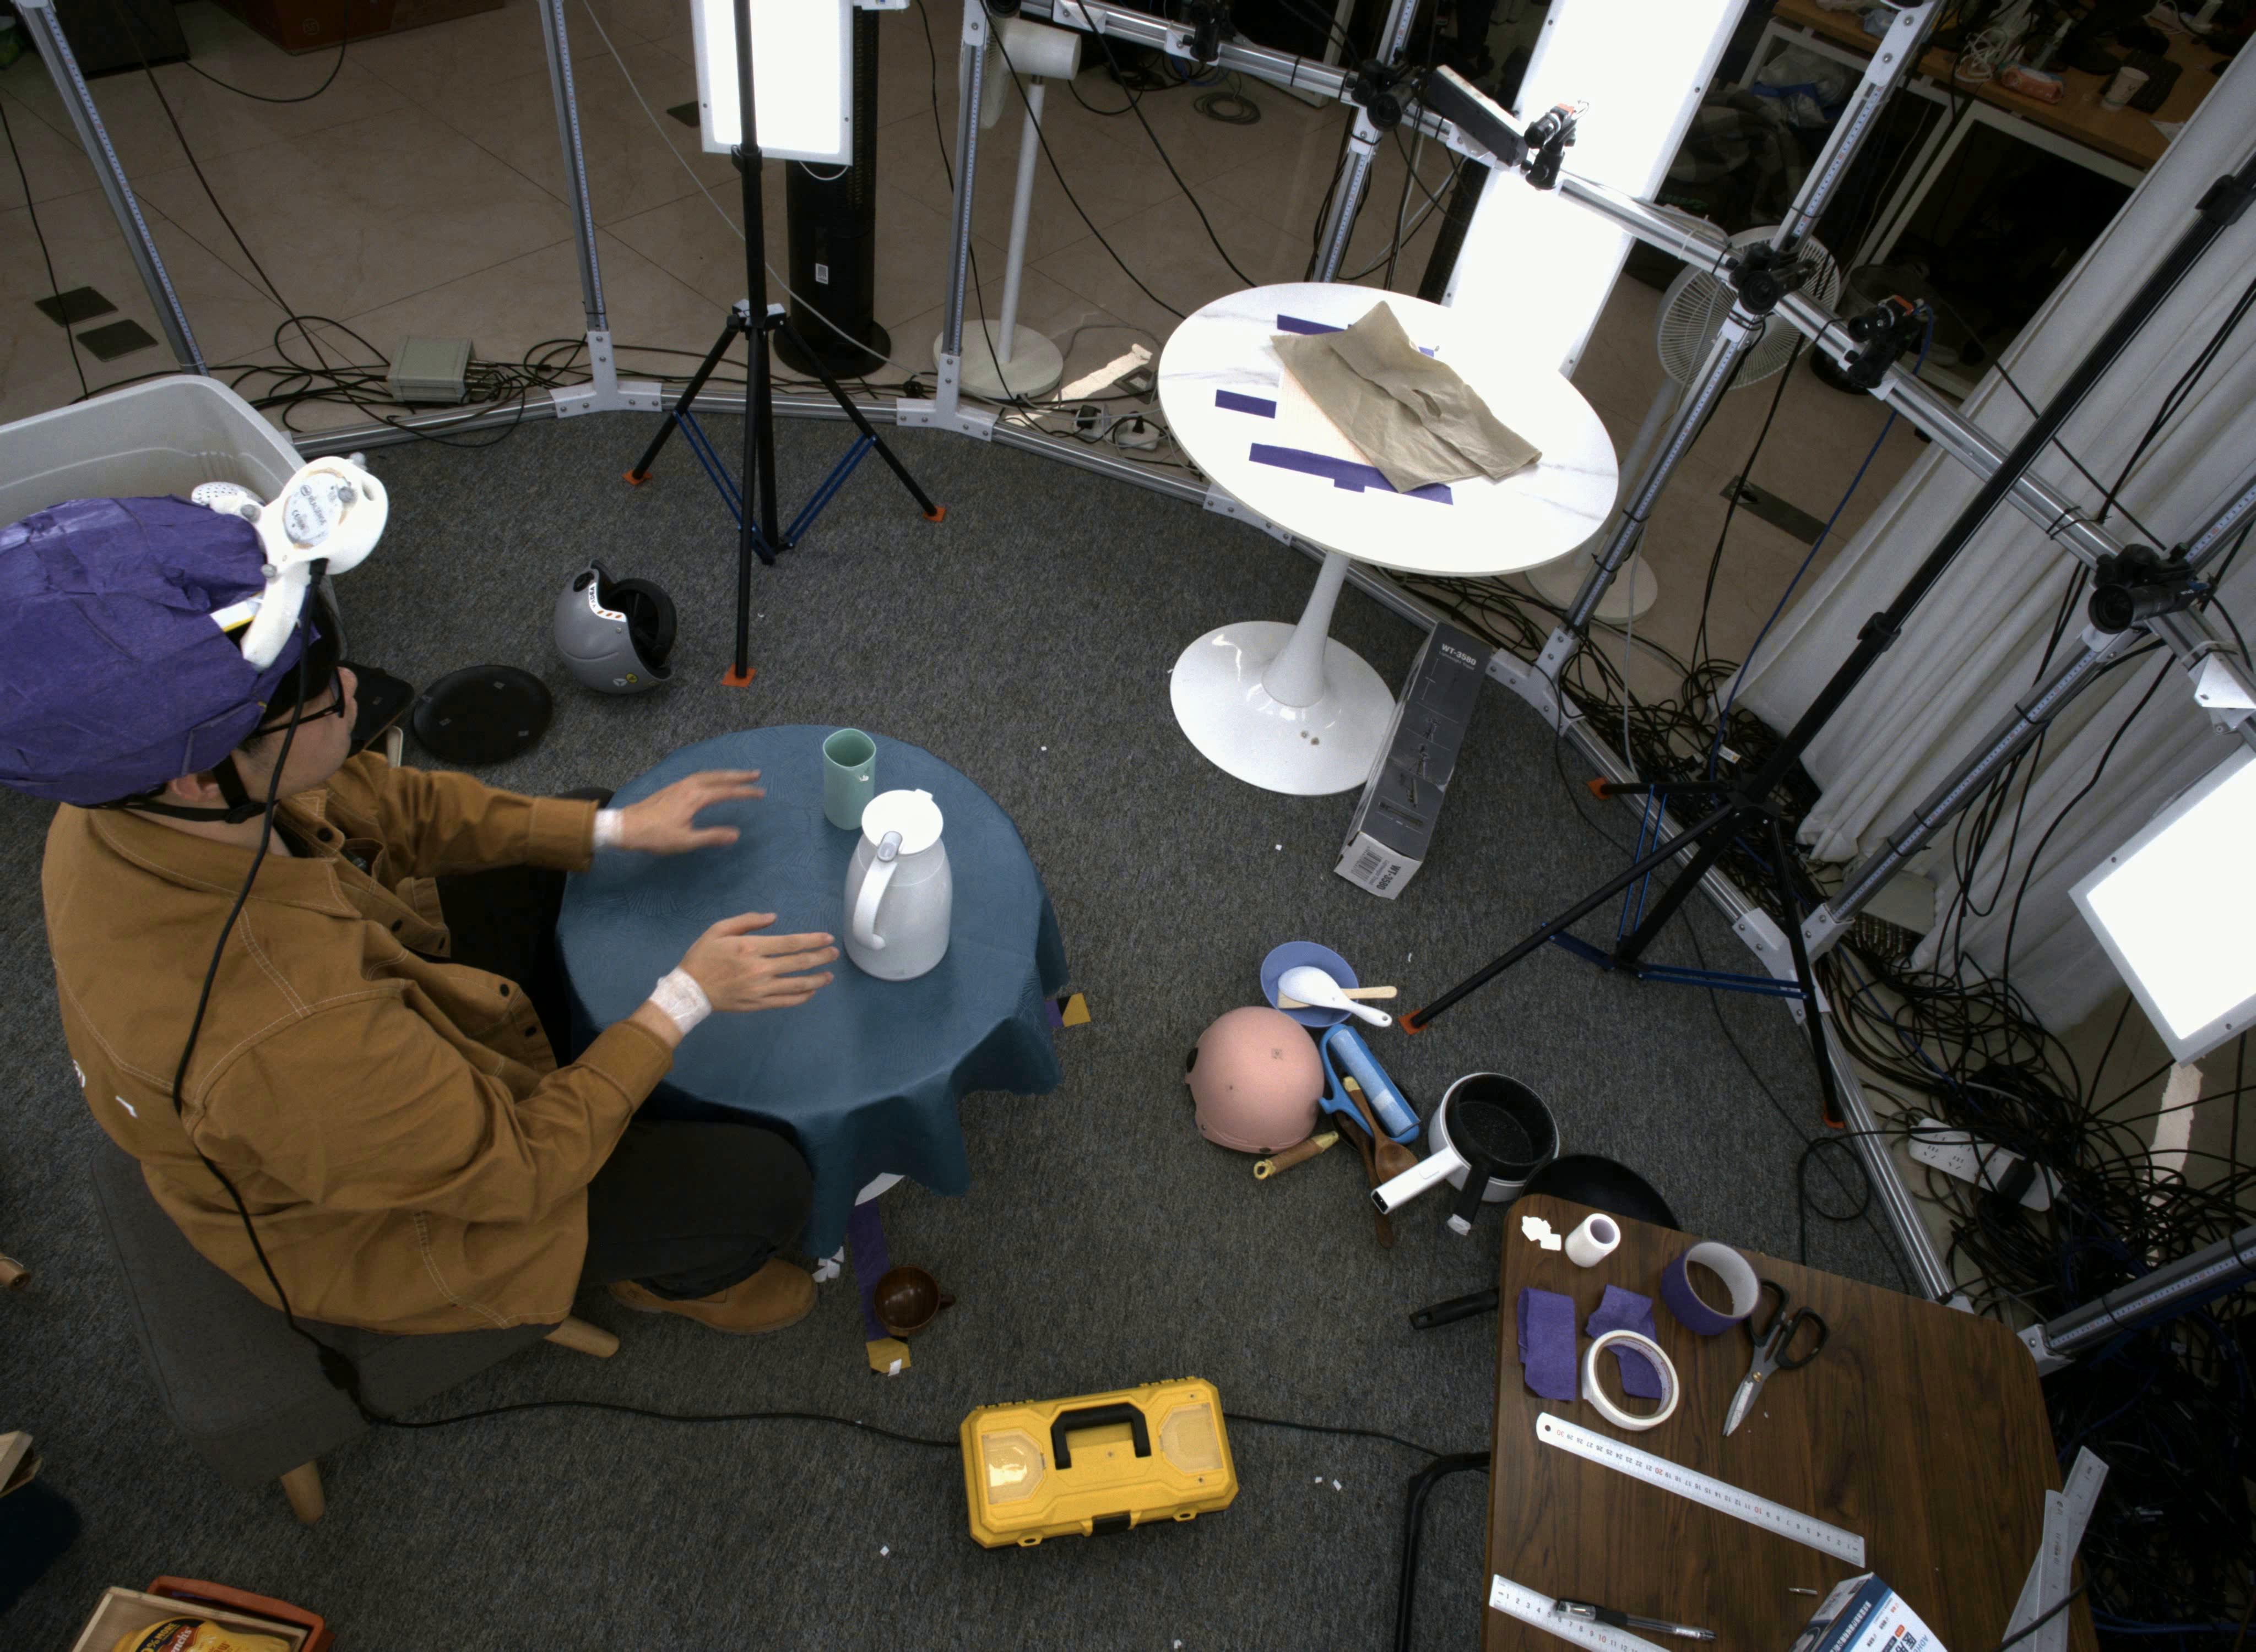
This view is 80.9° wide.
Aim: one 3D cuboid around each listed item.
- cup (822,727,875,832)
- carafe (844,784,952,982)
[{"bbox_3d":[-0.367,-0.060,1.701,0.066,0.135,0.065,6,51,-7],"label":"cup"},{"bbox_3d":[-0.279,0.076,1.542,0.131,0.254,0.166,19,52,3],"label":"carafe"}]
